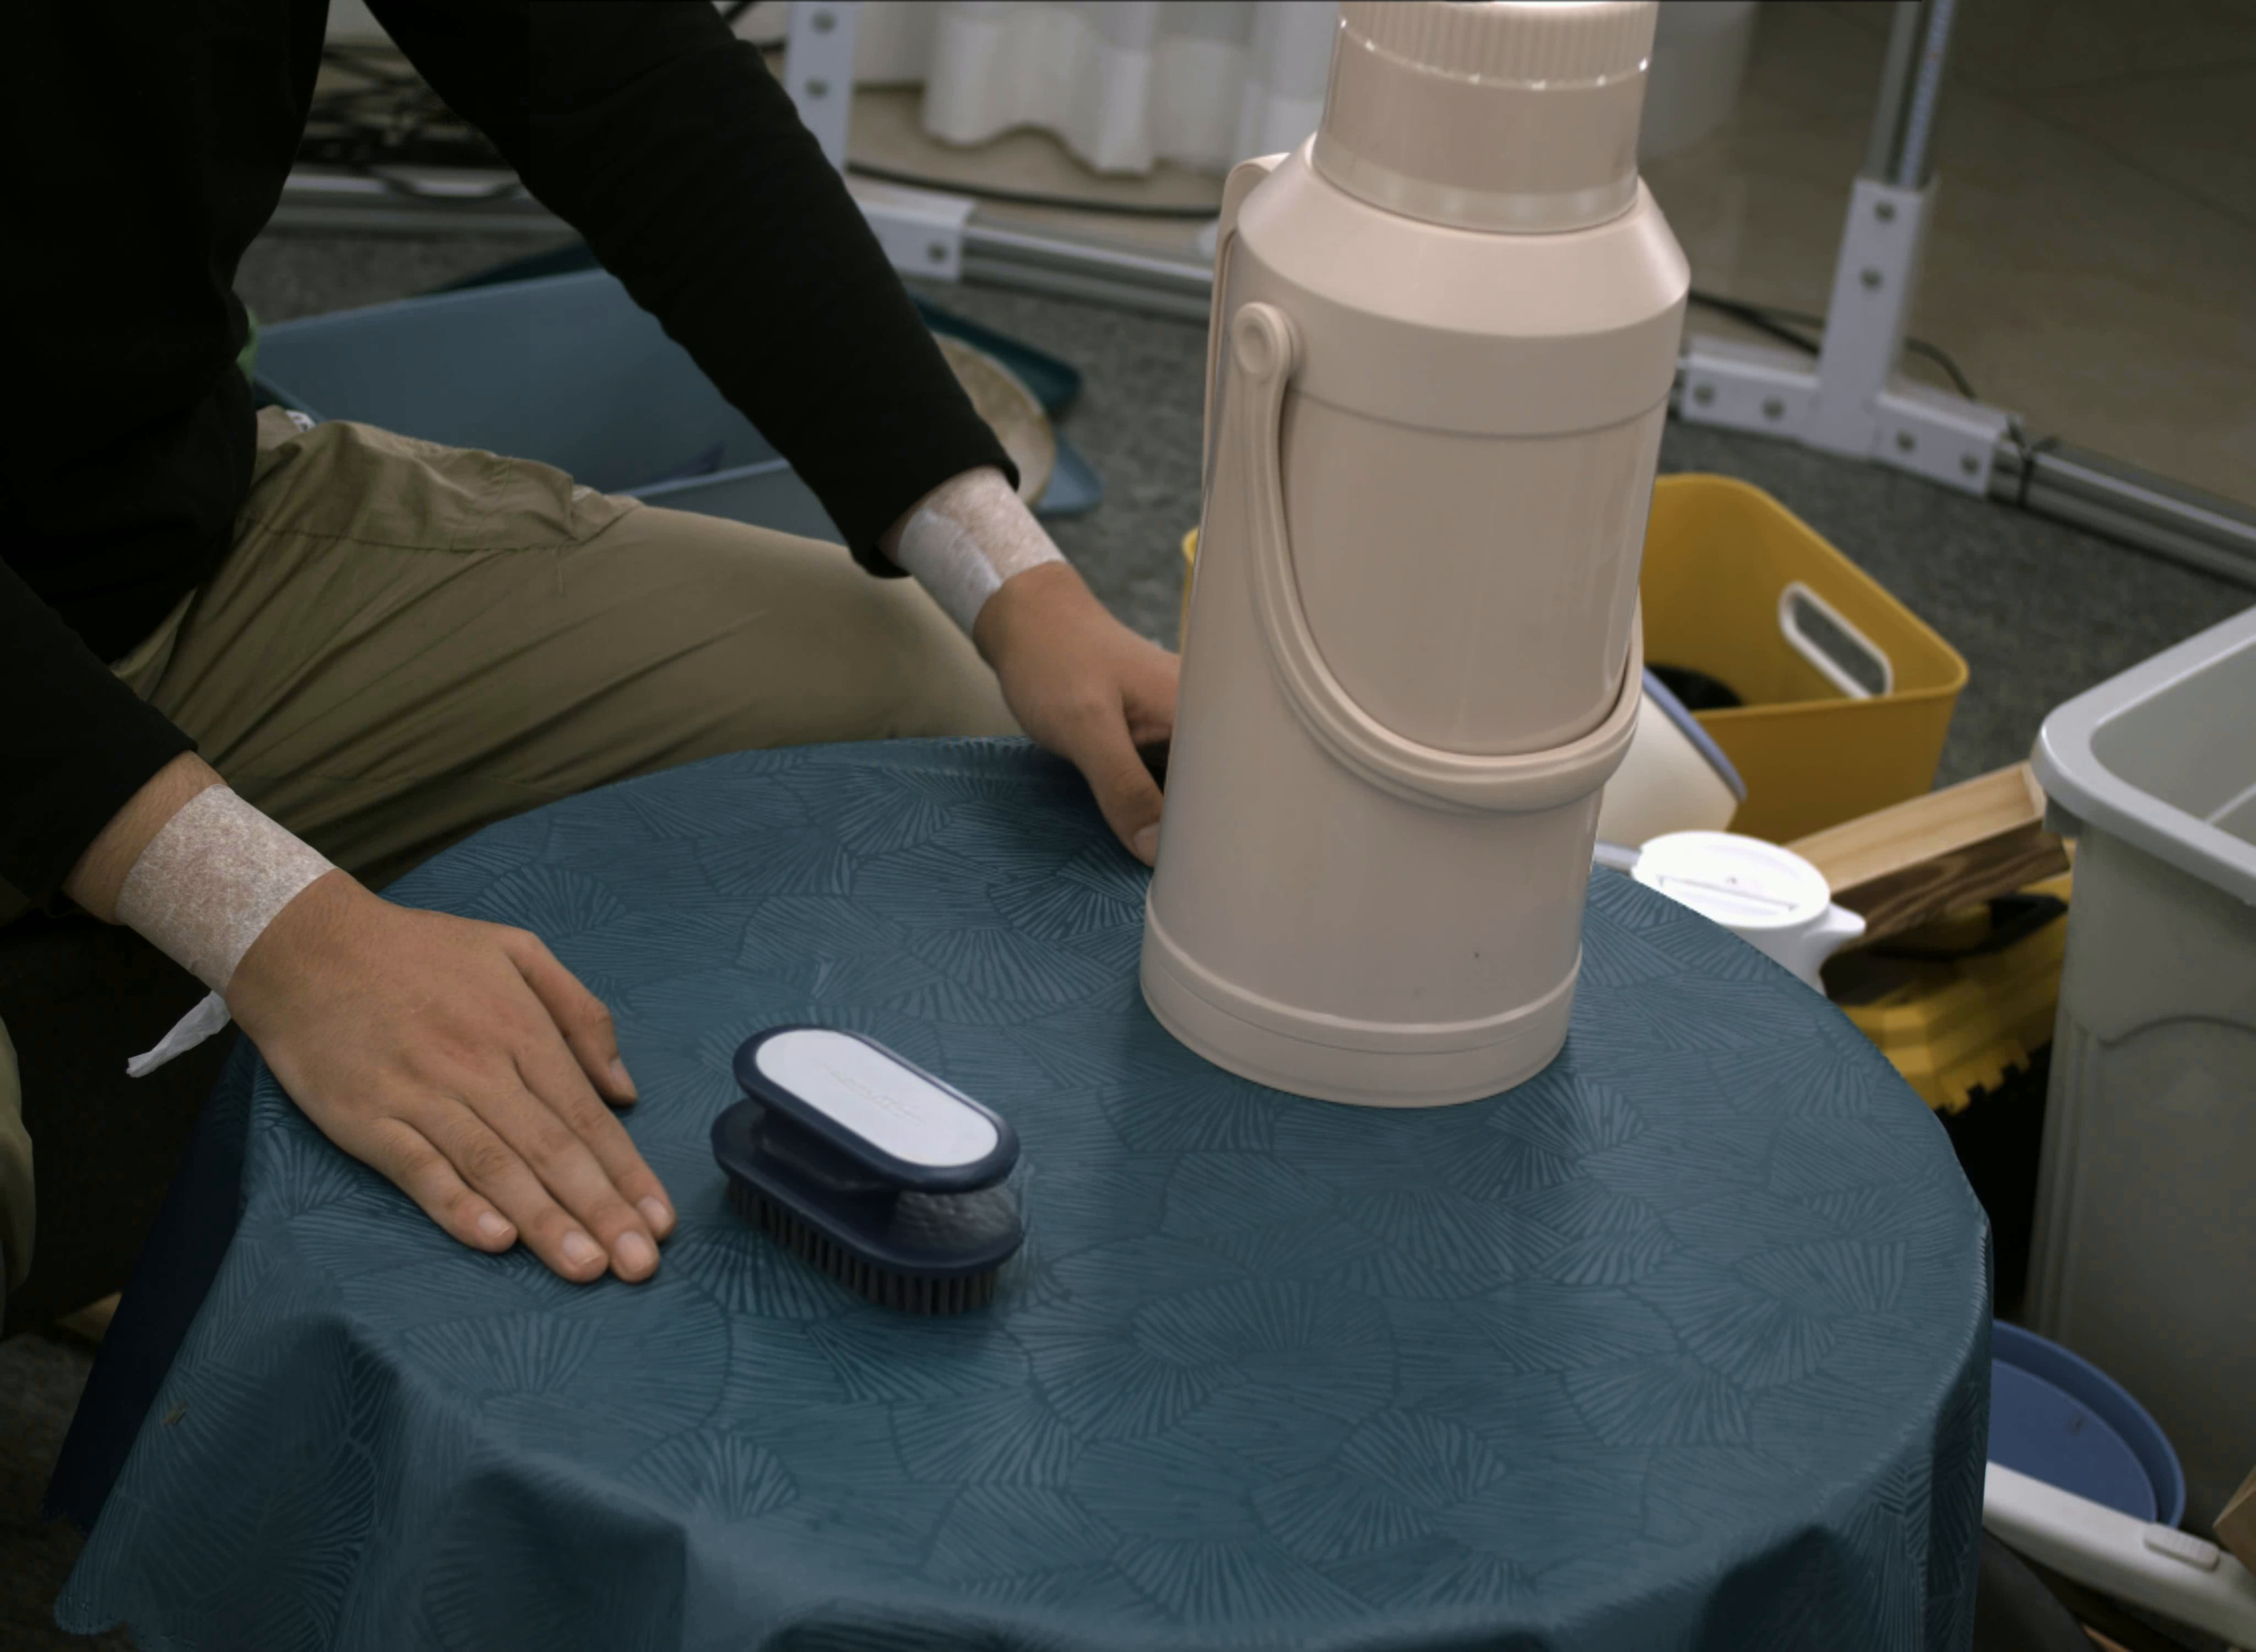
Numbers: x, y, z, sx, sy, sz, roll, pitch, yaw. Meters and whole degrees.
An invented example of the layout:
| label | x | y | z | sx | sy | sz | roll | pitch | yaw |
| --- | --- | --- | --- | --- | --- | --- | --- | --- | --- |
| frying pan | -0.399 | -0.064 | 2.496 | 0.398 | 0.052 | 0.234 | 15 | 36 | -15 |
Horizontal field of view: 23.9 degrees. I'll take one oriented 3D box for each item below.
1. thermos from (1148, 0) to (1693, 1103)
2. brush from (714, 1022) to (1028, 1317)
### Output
| label | x | y | z | sx | sy | sz | roll | pitch | yaw |
| --- | --- | --- | --- | --- | --- | --- | --- | --- | --- |
| thermos | 0.097 | -0.119 | 1.864 | 0.174 | 0.405 | 0.209 | -15 | 34 | -34 |
| brush | -0.085 | 0.114 | 1.744 | 0.067 | 0.061 | 0.122 | -18 | 36 | -40 |
